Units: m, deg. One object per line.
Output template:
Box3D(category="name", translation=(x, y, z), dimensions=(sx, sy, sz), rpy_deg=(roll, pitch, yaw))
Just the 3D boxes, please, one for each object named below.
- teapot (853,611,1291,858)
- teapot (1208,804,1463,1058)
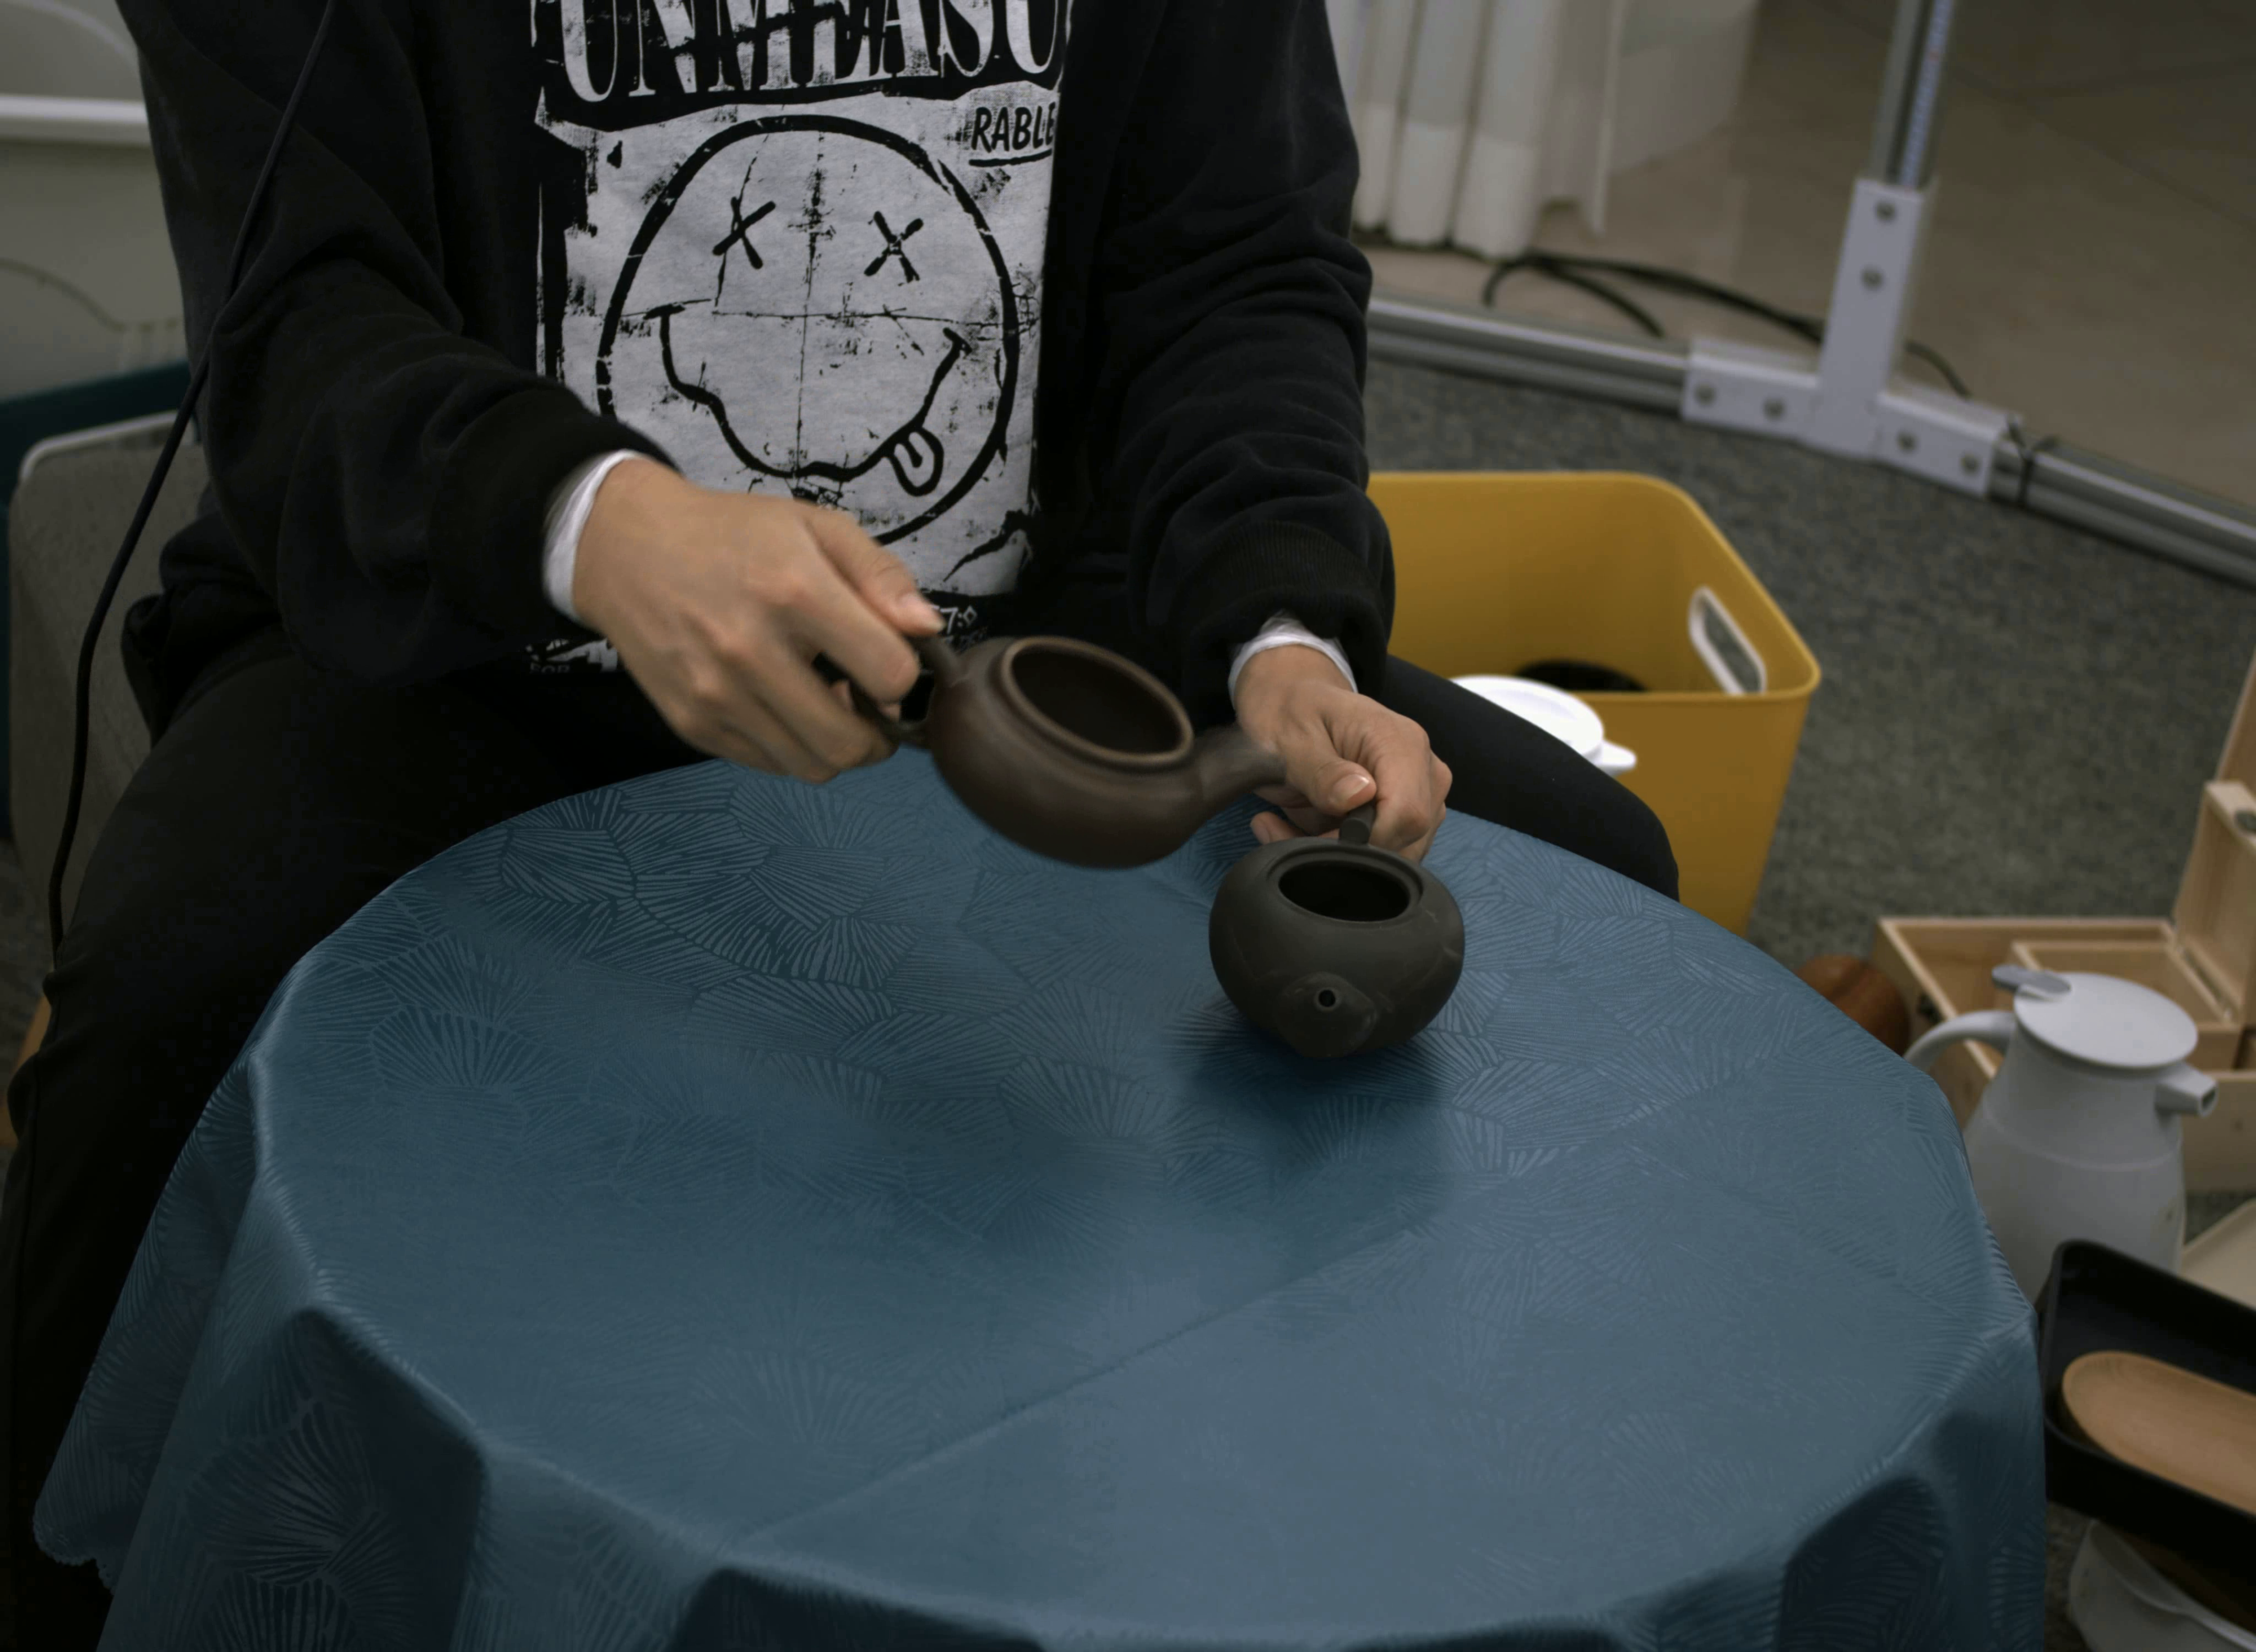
Box3D(category="teapot", translation=(-0.022, -0.032, 1.817), dimensions=(0.152, 0.054, 0.103), rpy_deg=(20, 26, -15))
Box3D(category="teapot", translation=(0.074, 0.041, 1.911), dimensions=(0.092, 0.064, 0.155), rpy_deg=(12, 30, 3))
